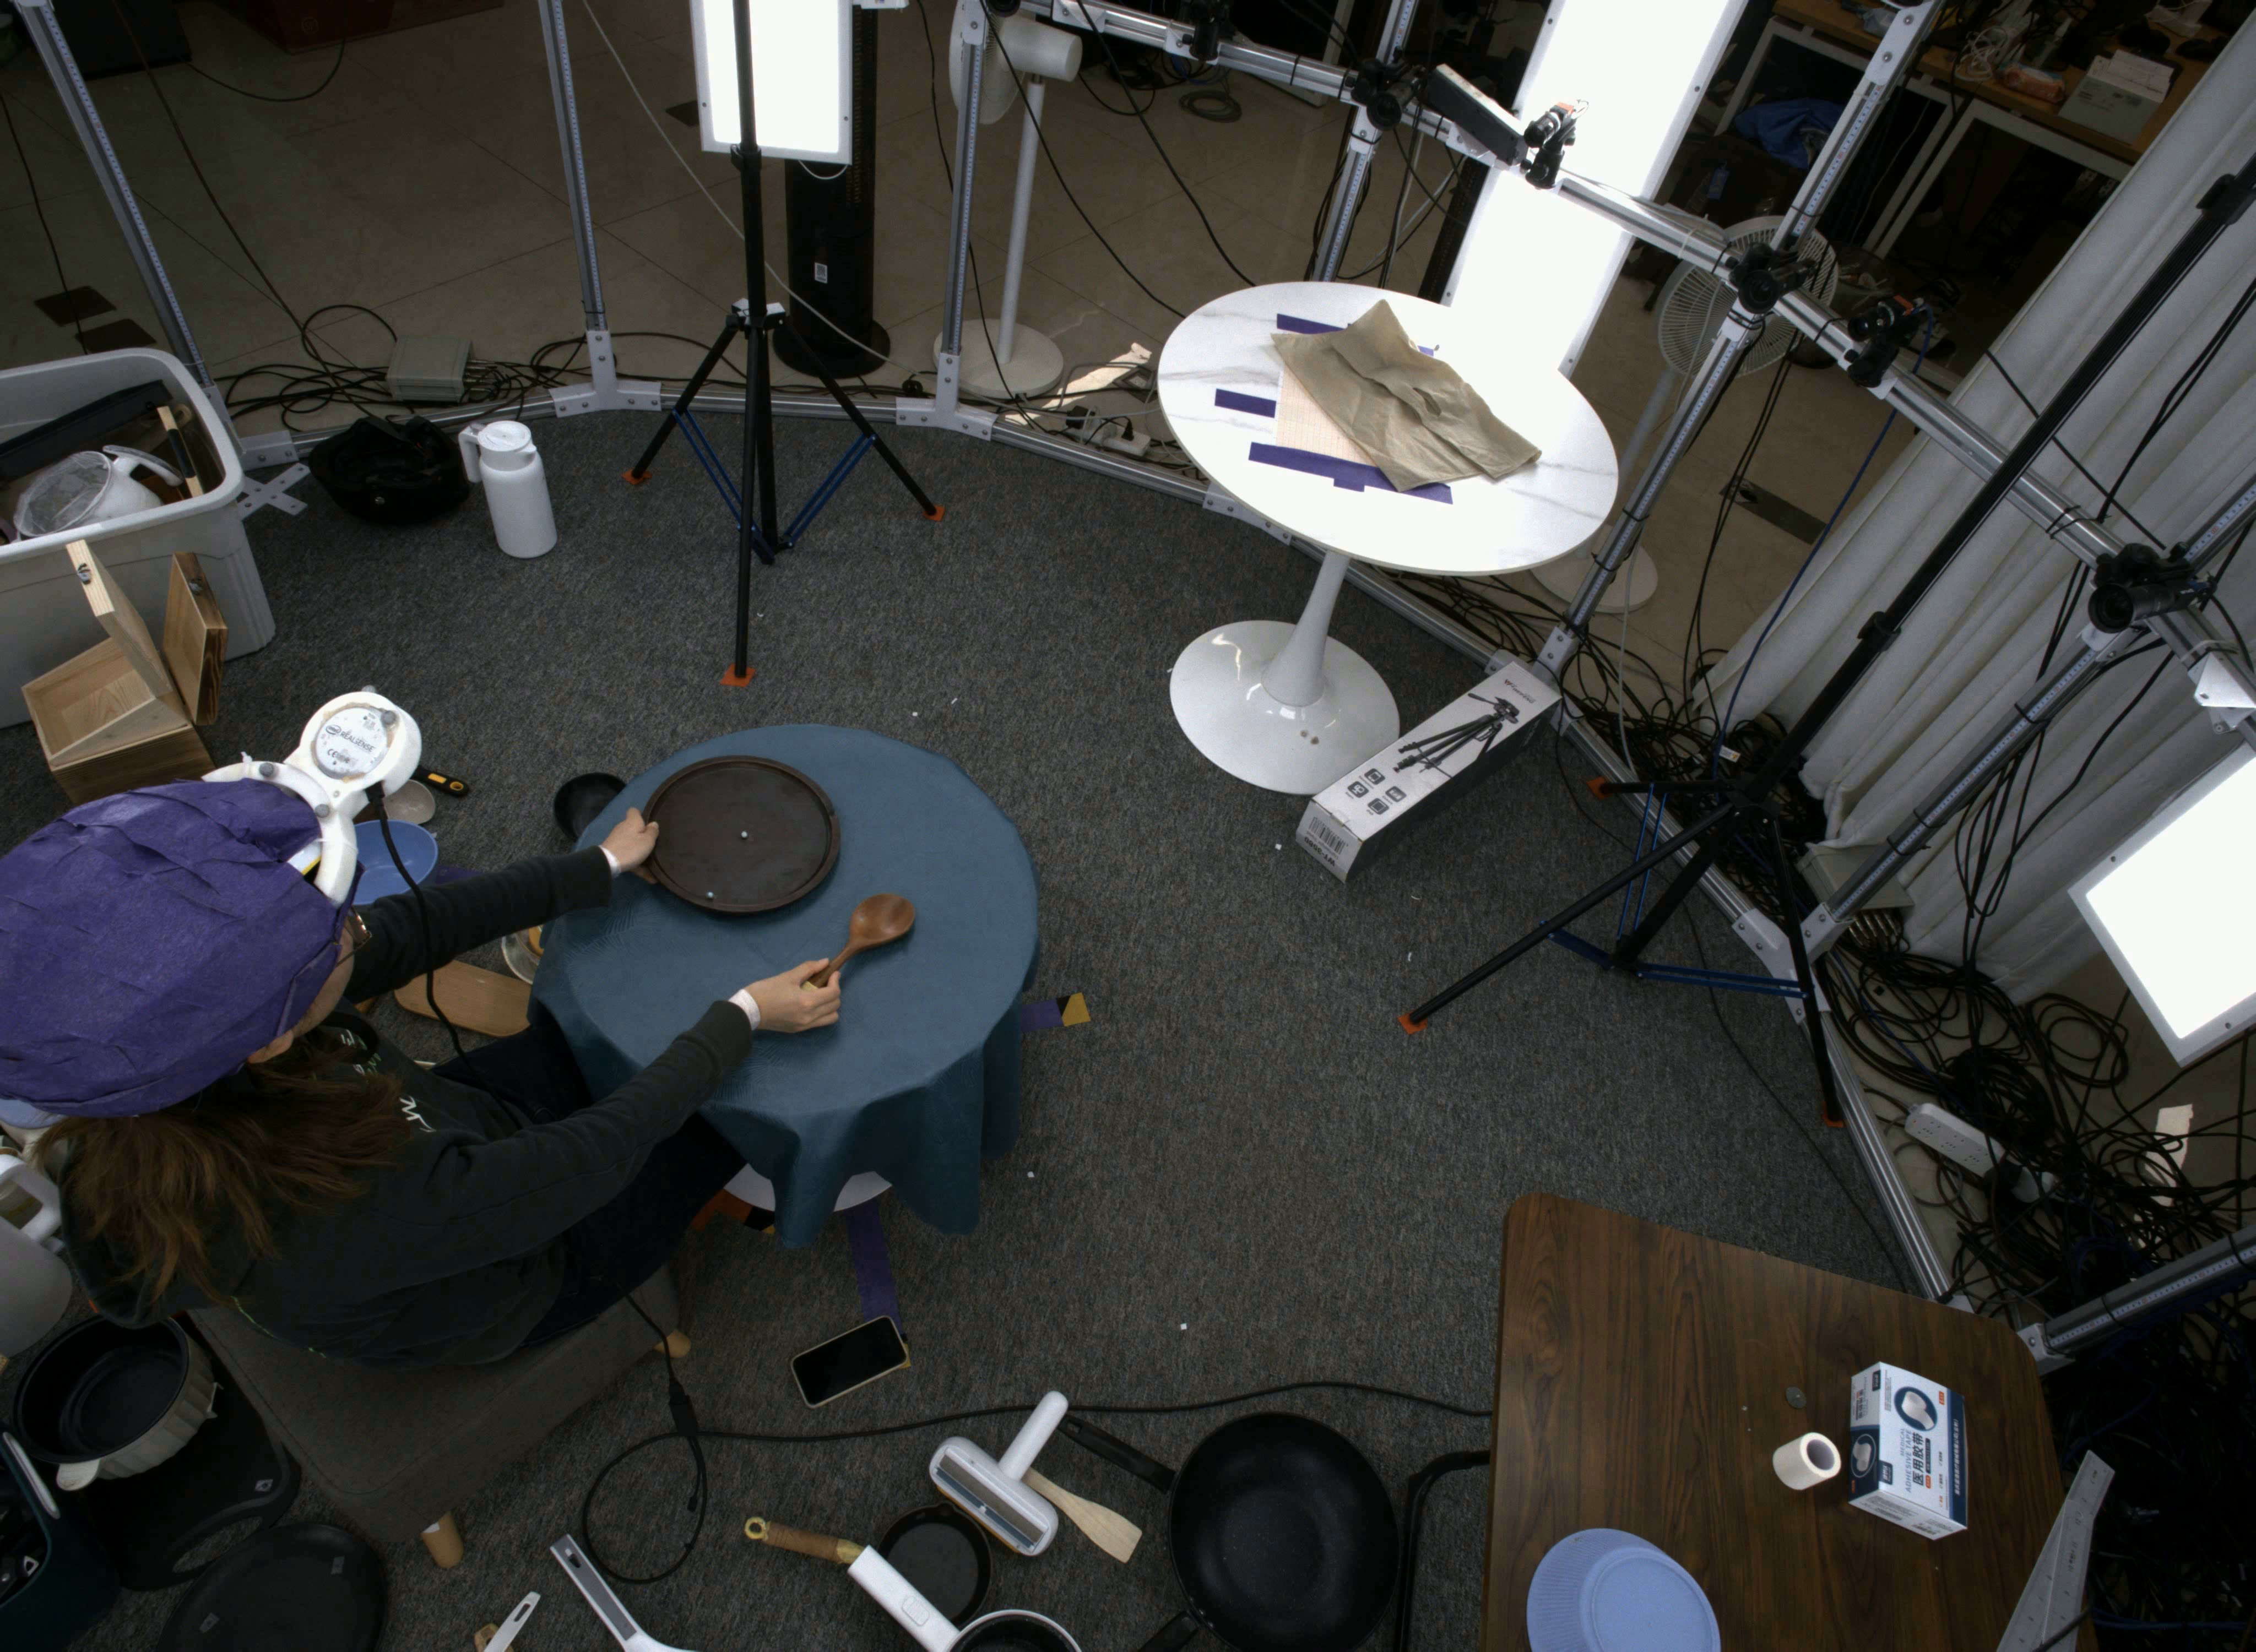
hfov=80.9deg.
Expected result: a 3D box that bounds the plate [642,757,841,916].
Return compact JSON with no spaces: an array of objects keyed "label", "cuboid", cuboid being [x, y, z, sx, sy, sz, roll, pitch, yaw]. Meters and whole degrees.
[{"label":"plate","cuboid":[-0.501,0.010,1.677,0.255,0.029,0.250,11,50,-12]}]

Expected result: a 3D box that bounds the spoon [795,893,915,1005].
[{"label":"spoon","cuboid":[-0.340,0.150,1.608,0.074,0.017,0.215,28,40,11]}]
